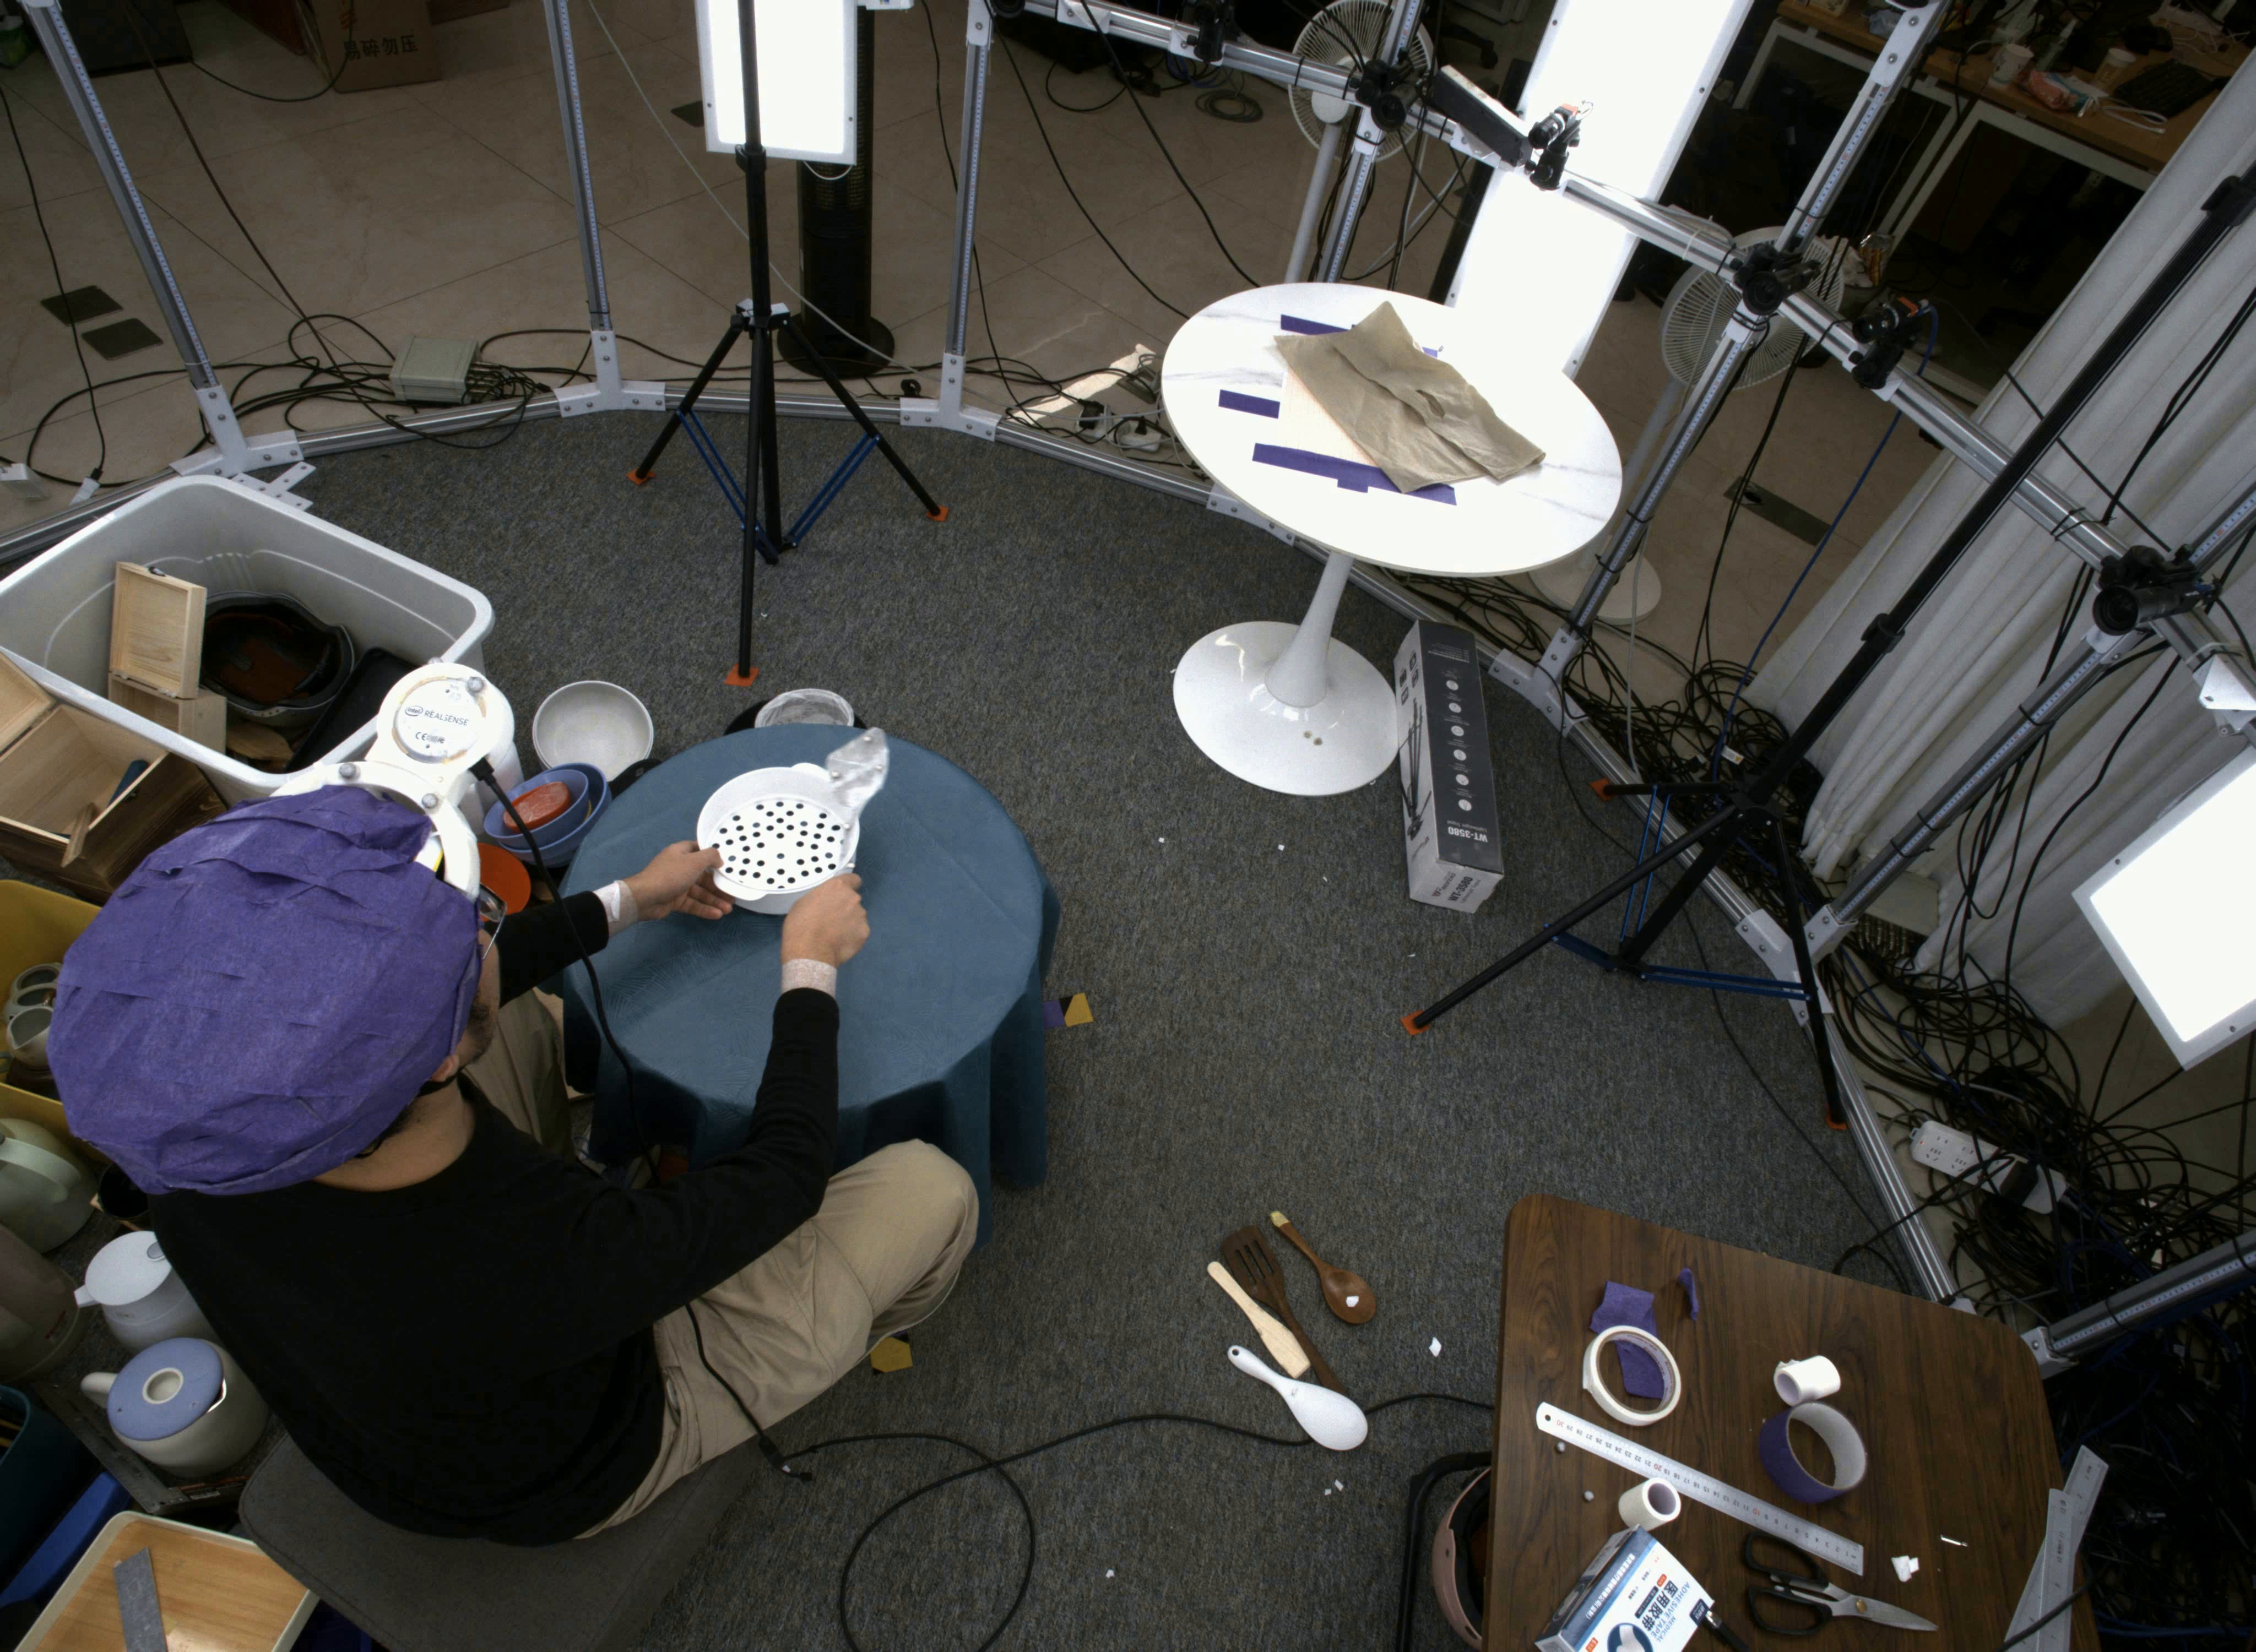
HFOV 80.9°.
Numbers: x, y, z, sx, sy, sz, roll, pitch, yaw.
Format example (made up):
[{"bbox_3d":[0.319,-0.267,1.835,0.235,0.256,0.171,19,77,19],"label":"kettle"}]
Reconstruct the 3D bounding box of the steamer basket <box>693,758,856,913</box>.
[{"bbox_3d":[-0.449,0.015,1.655,0.199,0.070,0.229,22,52,4],"label":"steamer basket"}]

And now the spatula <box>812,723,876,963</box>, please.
[{"bbox_3d":[-0.350,0.012,1.542,0.097,0.046,0.356,-26,38,19],"label":"spatula"}]
